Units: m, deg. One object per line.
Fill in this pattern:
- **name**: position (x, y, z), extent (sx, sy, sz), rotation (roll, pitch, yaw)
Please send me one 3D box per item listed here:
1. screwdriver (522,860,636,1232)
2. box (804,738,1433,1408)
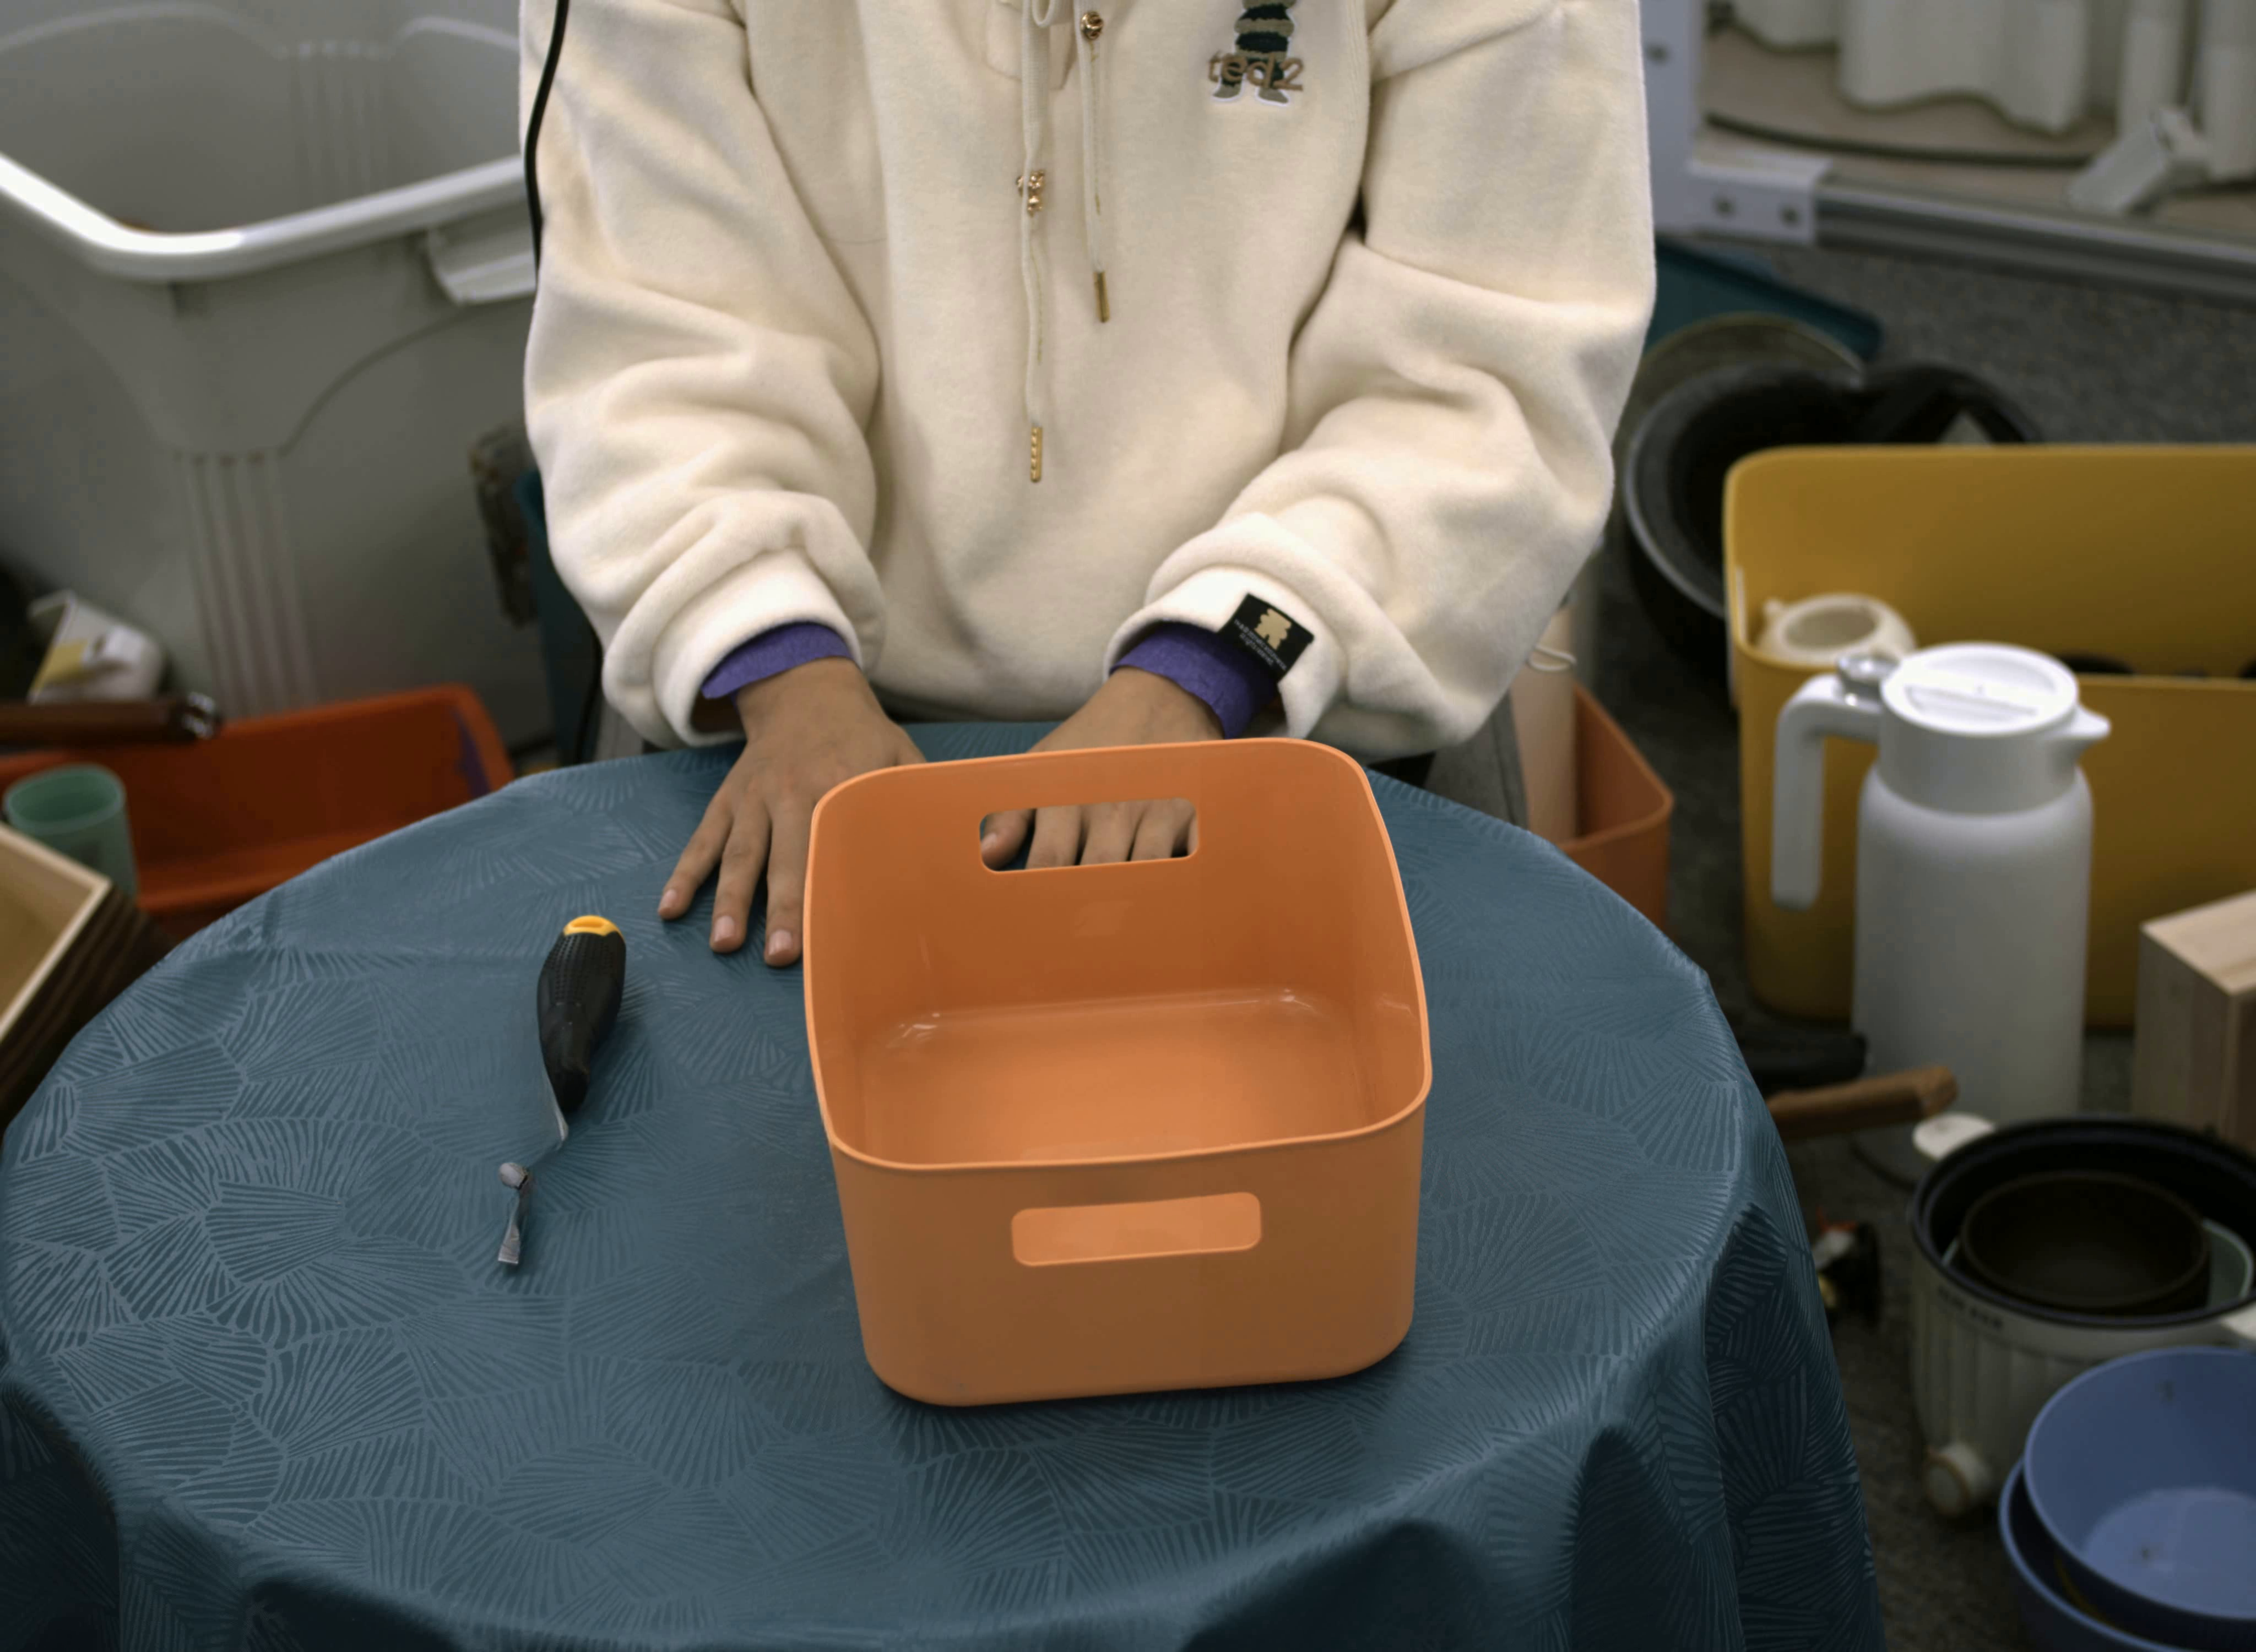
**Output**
- **screwdriver**: position (-0.188, 0.076, 1.918), extent (0.031, 0.031, 0.201), rotation (-2, 36, 1)
- **box**: position (-0.003, 0.079, 1.832), extent (0.198, 0.101, 0.277), rotation (-5, 27, -2)
